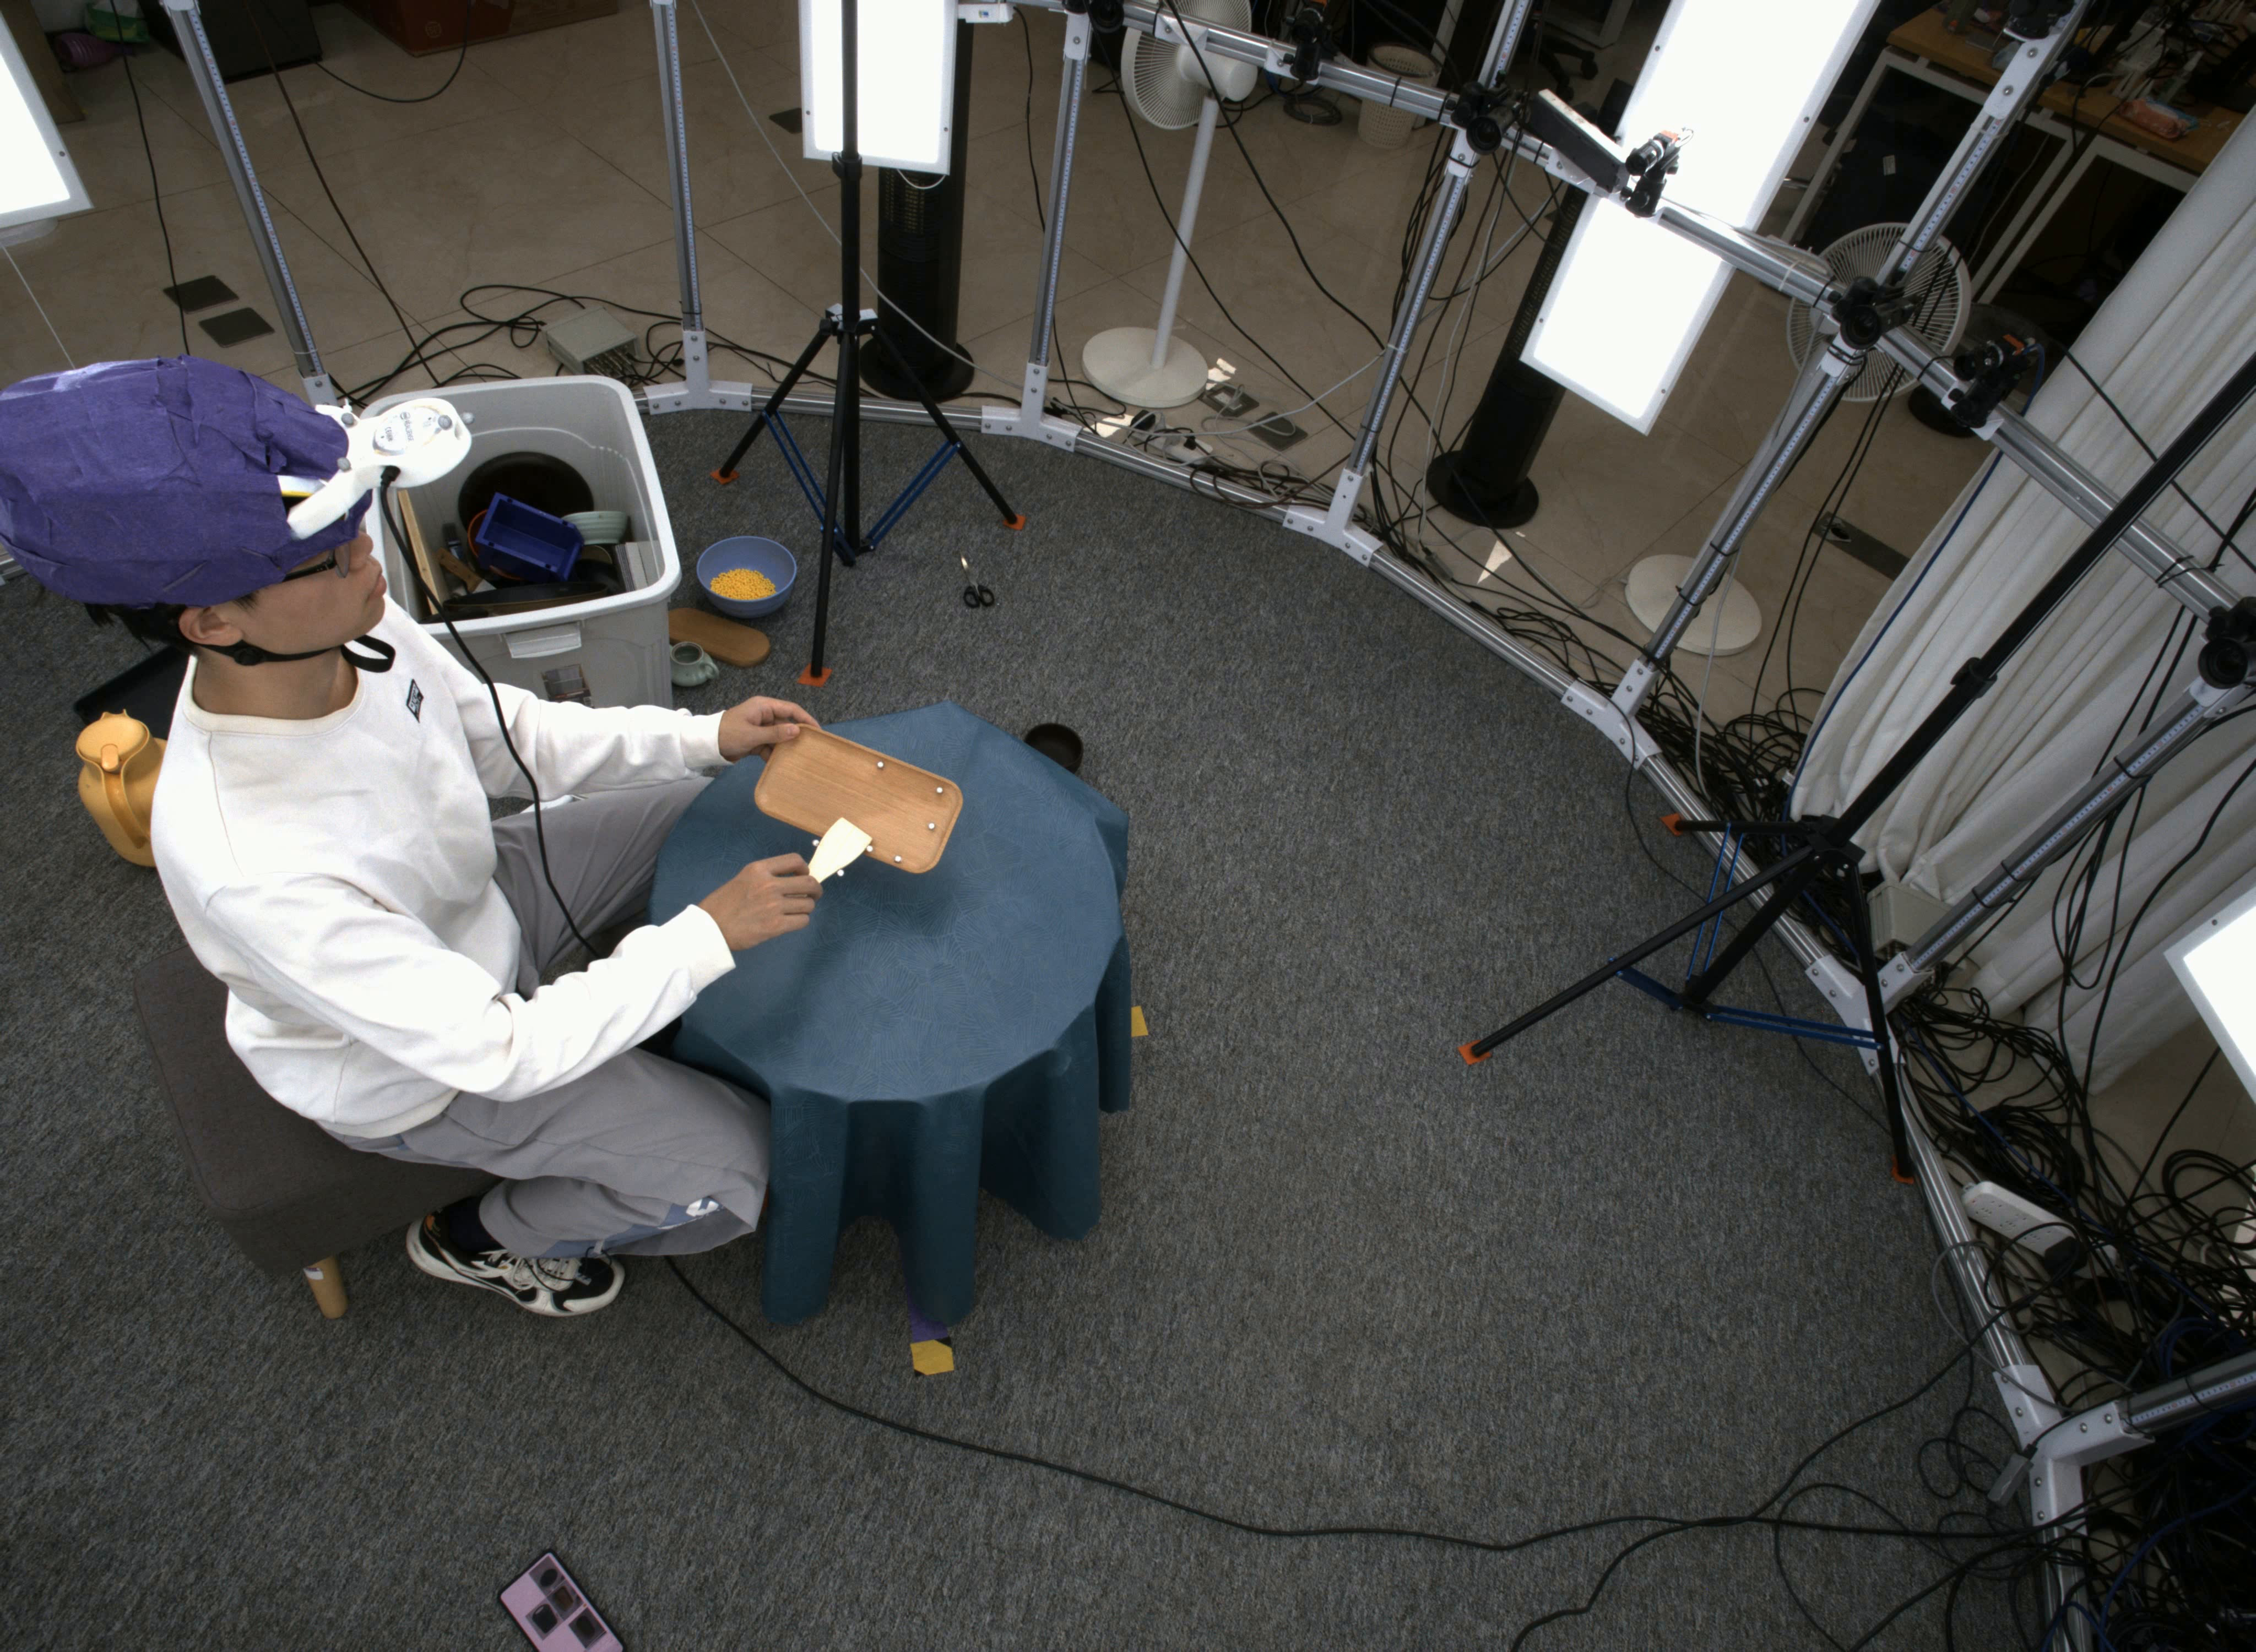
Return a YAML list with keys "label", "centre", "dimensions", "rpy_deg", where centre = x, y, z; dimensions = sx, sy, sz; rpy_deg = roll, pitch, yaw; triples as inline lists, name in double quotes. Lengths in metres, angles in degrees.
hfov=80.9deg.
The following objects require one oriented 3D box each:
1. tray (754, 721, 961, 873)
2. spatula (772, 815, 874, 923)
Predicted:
- label: "tray"
  centre: [-0.341, -0.037, 1.641]
  dimensions: [0.248, 0.023, 0.131]
  rpy_deg: [22, 77, 0]
- label: "spatula"
  centre: [-0.367, 0.050, 1.550]
  dimensions: [0.050, 0.005, 0.206]
  rpy_deg: [33, 37, -3]
